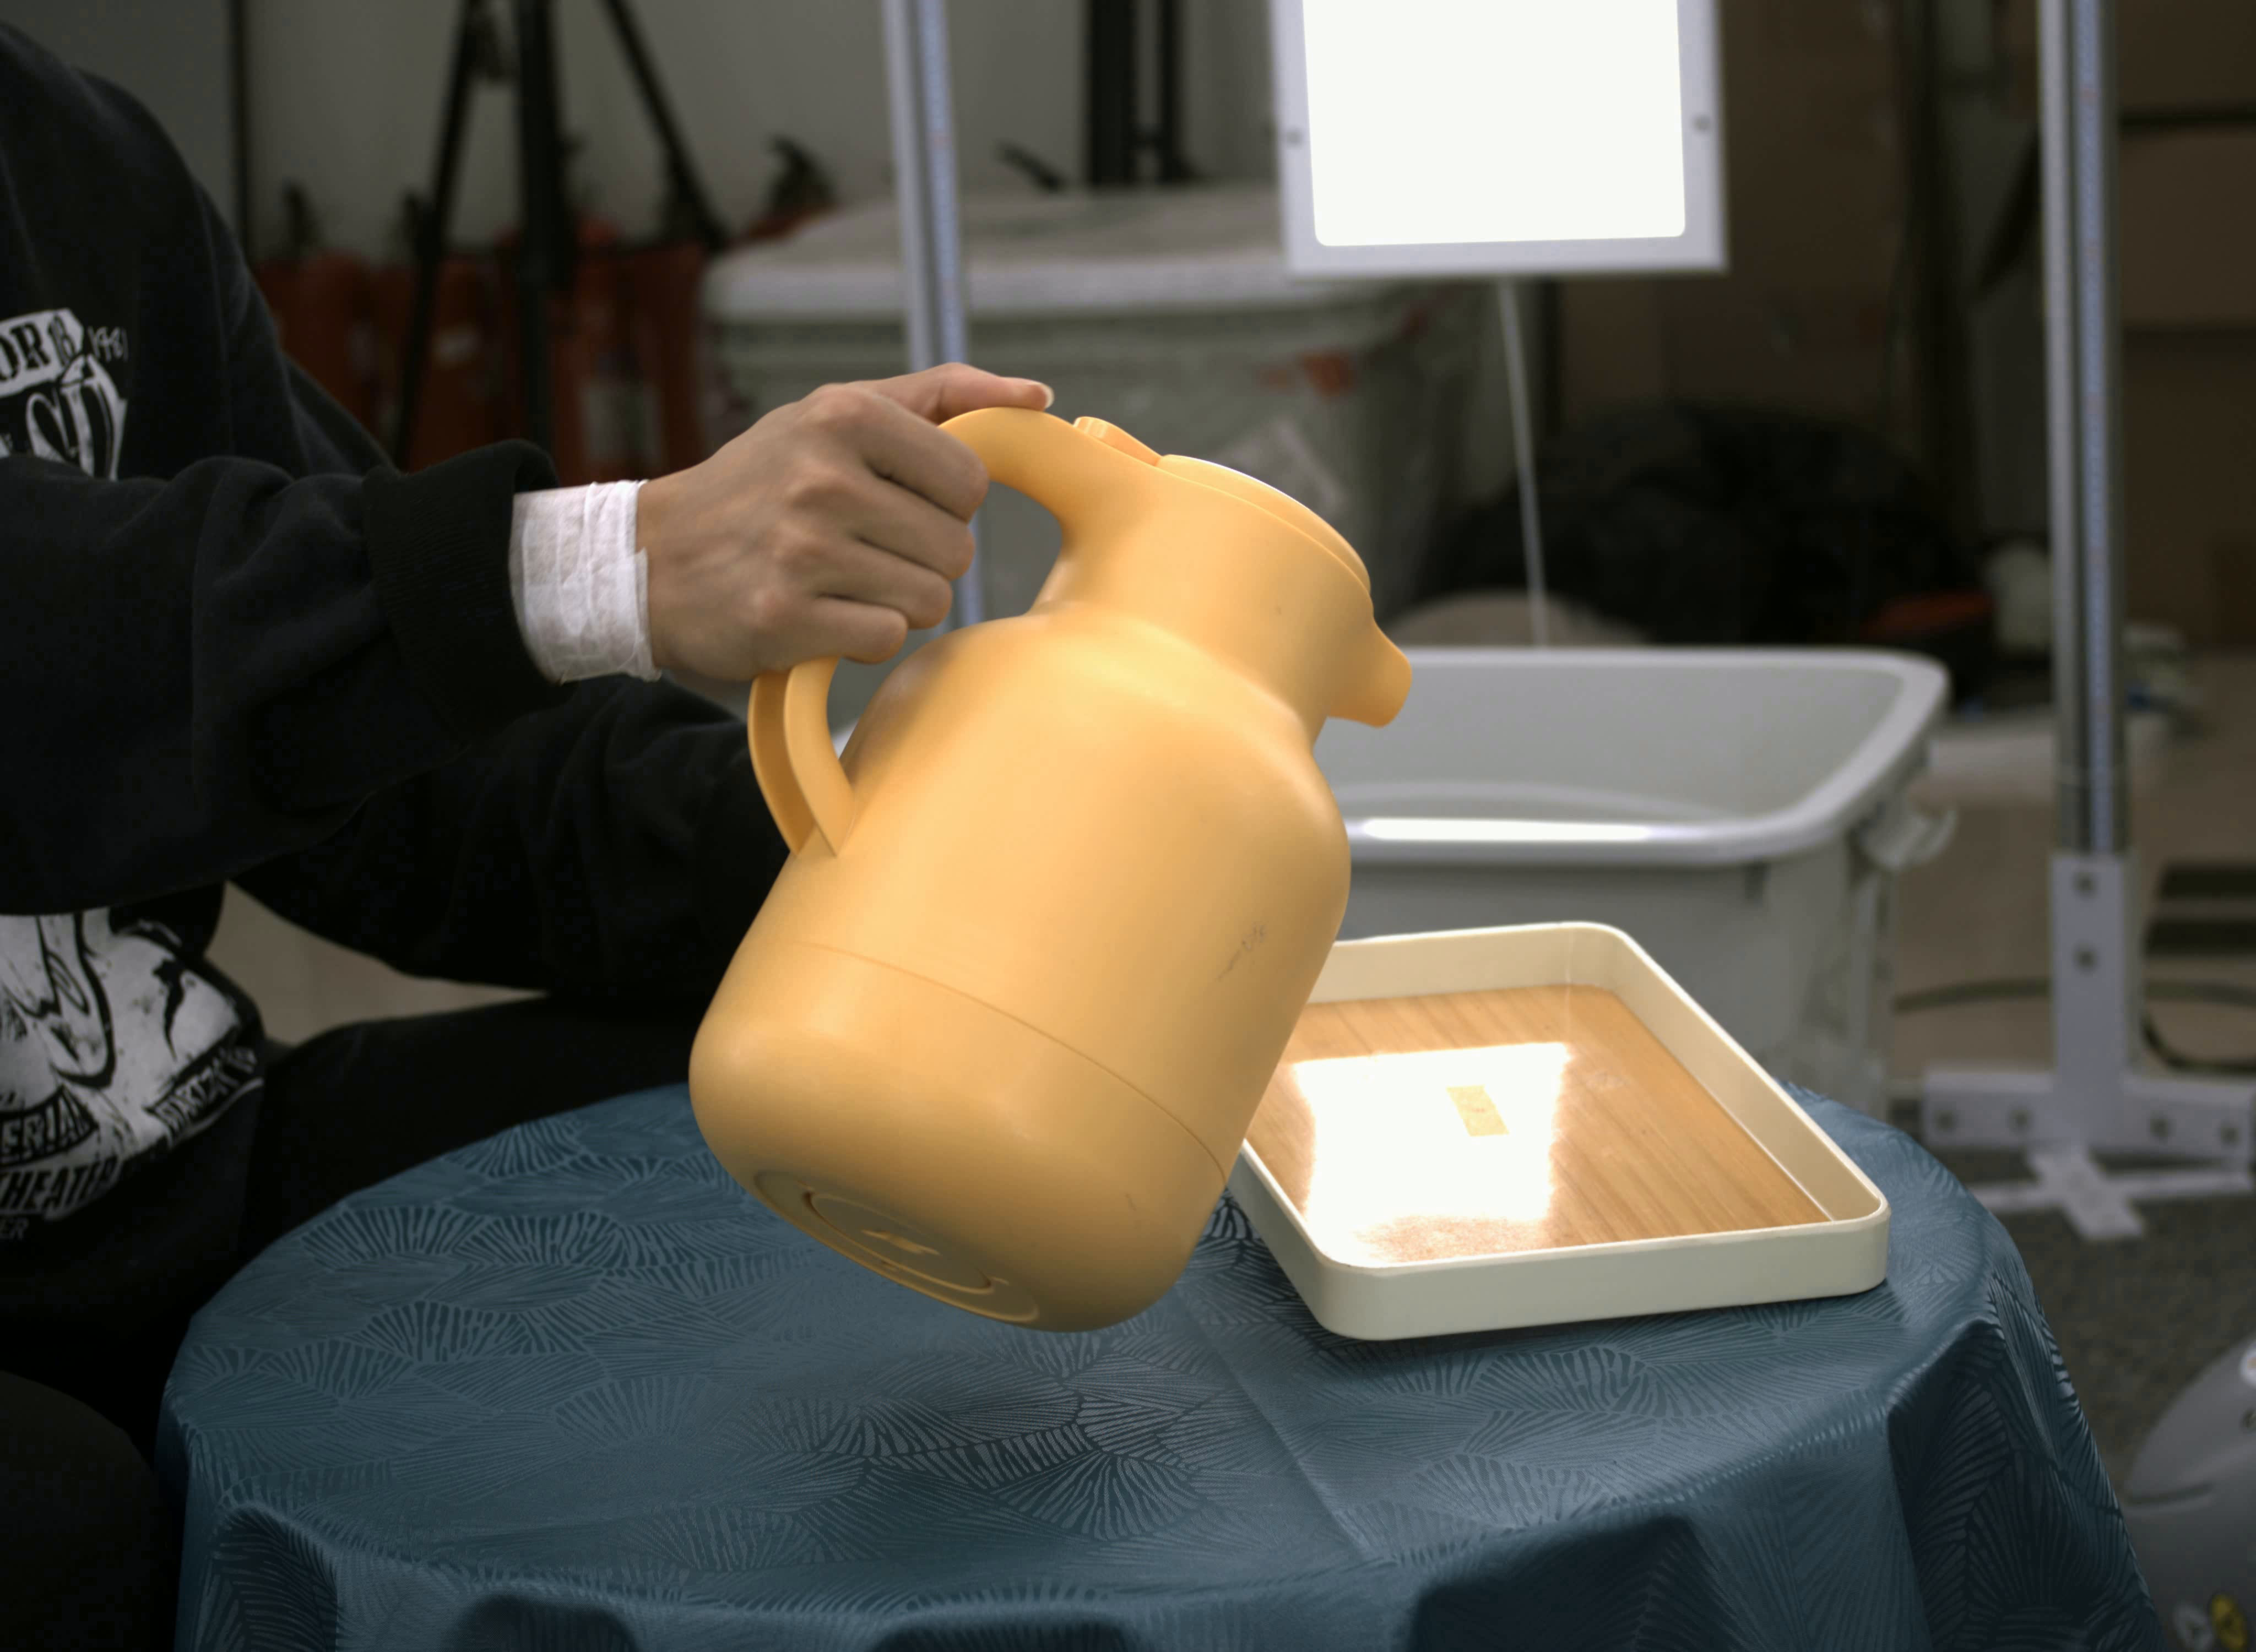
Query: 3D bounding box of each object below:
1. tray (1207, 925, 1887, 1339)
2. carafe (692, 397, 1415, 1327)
[{"bbox_3d":[0.119,0.098,1.849,0.189,0.027,0.302,-5,18,-11],"label":"tray"},{"bbox_3d":[-0.030,0.001,1.664,0.200,0.258,0.166,33,-20,-21],"label":"carafe"}]
